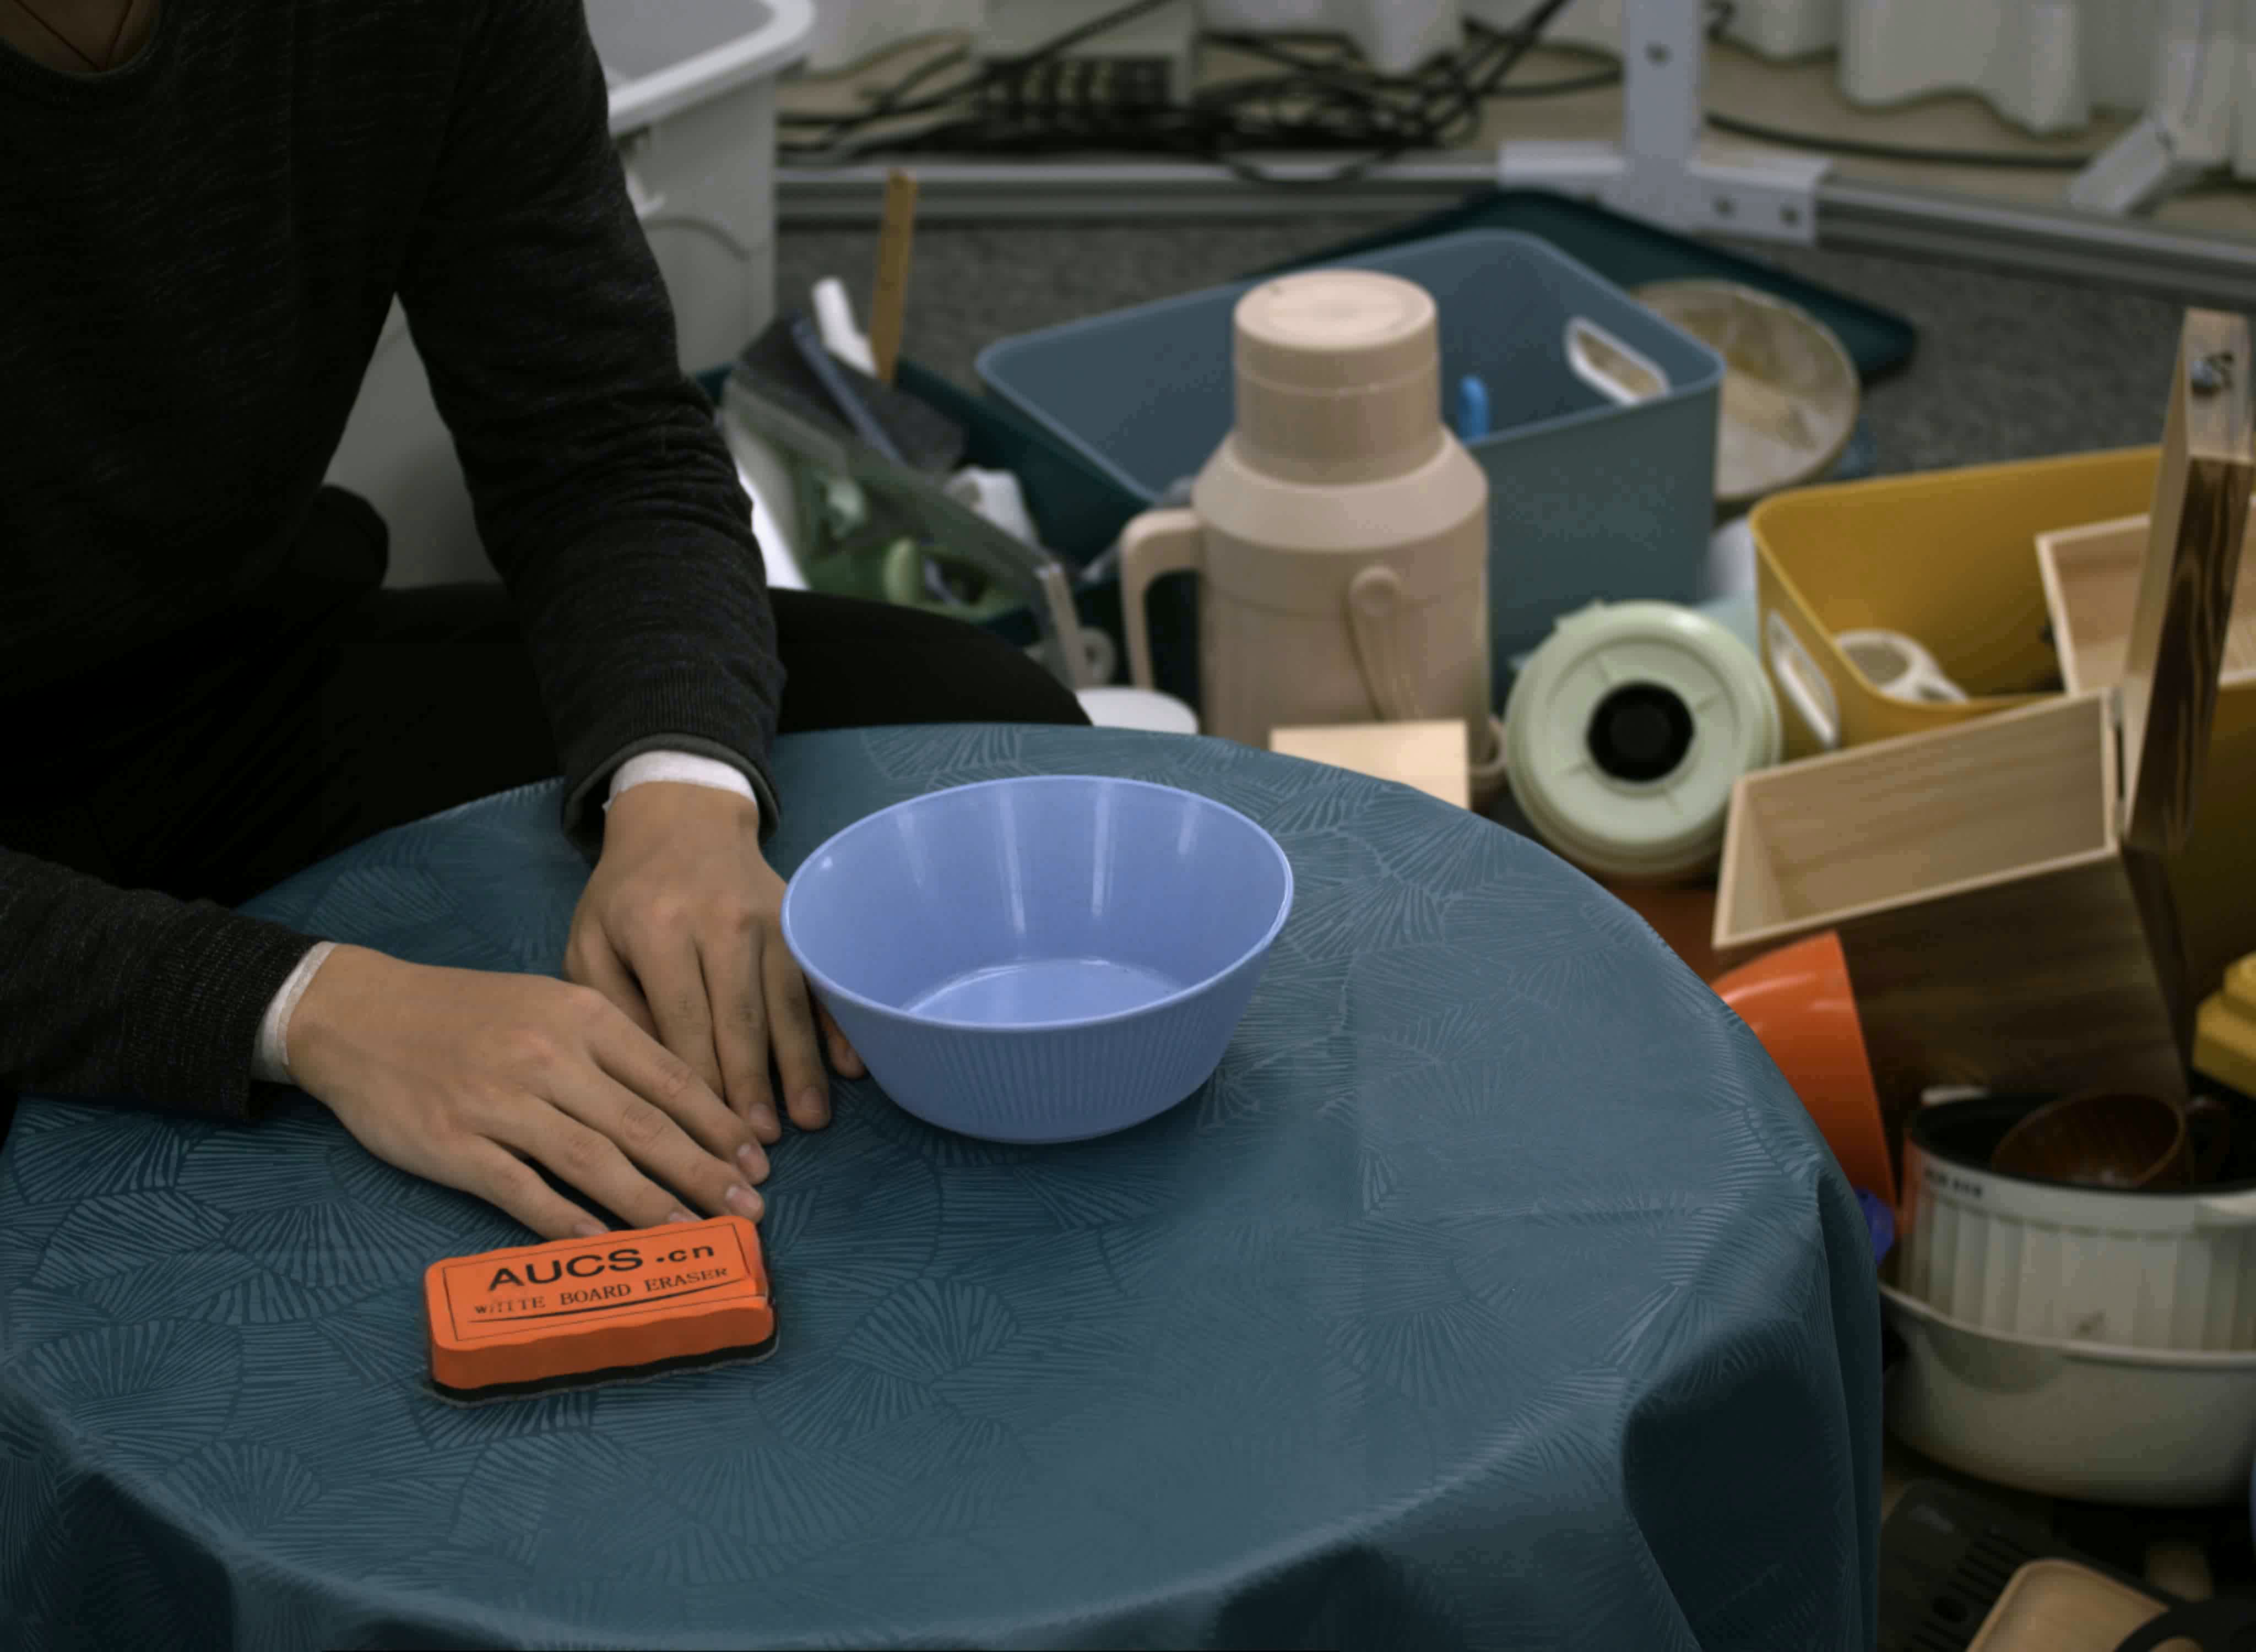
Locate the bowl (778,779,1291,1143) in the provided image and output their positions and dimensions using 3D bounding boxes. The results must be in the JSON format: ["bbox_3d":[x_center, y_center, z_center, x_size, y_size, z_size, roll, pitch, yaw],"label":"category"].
[{"bbox_3d":[-0.030,0.052,1.925,0.175,0.069,0.179,-2,27,2],"label":"bowl"}]

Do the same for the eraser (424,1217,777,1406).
[{"bbox_3d":[-0.168,0.155,1.788,0.108,0.022,0.060,-8,29,-9],"label":"eraser"}]
